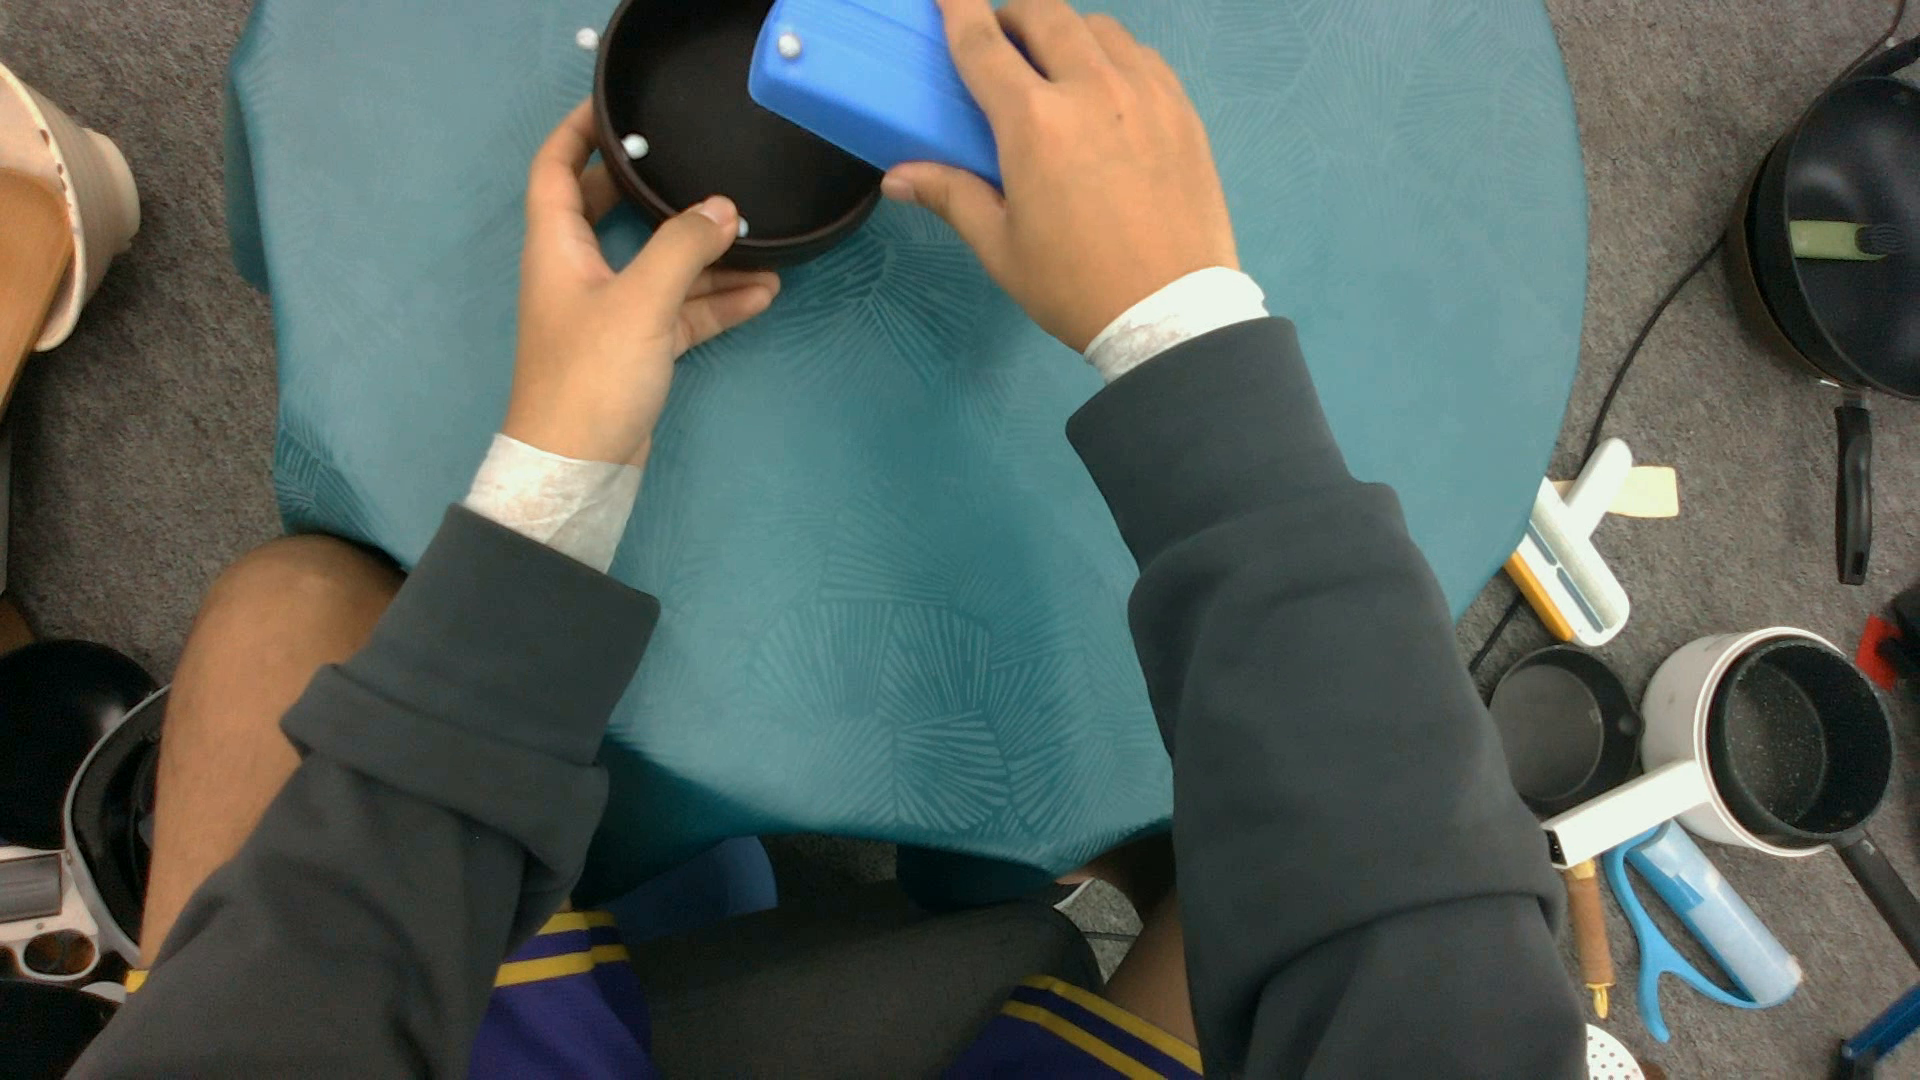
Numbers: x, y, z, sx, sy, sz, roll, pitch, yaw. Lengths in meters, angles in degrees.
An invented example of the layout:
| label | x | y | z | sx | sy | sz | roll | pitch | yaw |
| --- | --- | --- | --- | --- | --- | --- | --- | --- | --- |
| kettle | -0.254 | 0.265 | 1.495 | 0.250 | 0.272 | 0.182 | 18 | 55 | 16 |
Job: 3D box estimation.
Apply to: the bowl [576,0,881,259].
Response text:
| label | x | y | z | sx | sy | sz | roll | pitch | yaw |
| --- | --- | --- | --- | --- | --- | --- | --- | --- | --- |
| bowl | -0.089 | -0.166 | 0.537 | 0.118 | 0.070 | 0.118 | 1 | 86 | -15 |

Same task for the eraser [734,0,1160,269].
| label | x | y | z | sx | sy | sz | roll | pitch | yaw |
| --- | --- | --- | --- | --- | --- | --- | --- | --- | --- |
| eraser | 0.000 | -0.158 | 0.507 | 0.162 | 0.047 | 0.054 | 21 | 75 | -17 |
